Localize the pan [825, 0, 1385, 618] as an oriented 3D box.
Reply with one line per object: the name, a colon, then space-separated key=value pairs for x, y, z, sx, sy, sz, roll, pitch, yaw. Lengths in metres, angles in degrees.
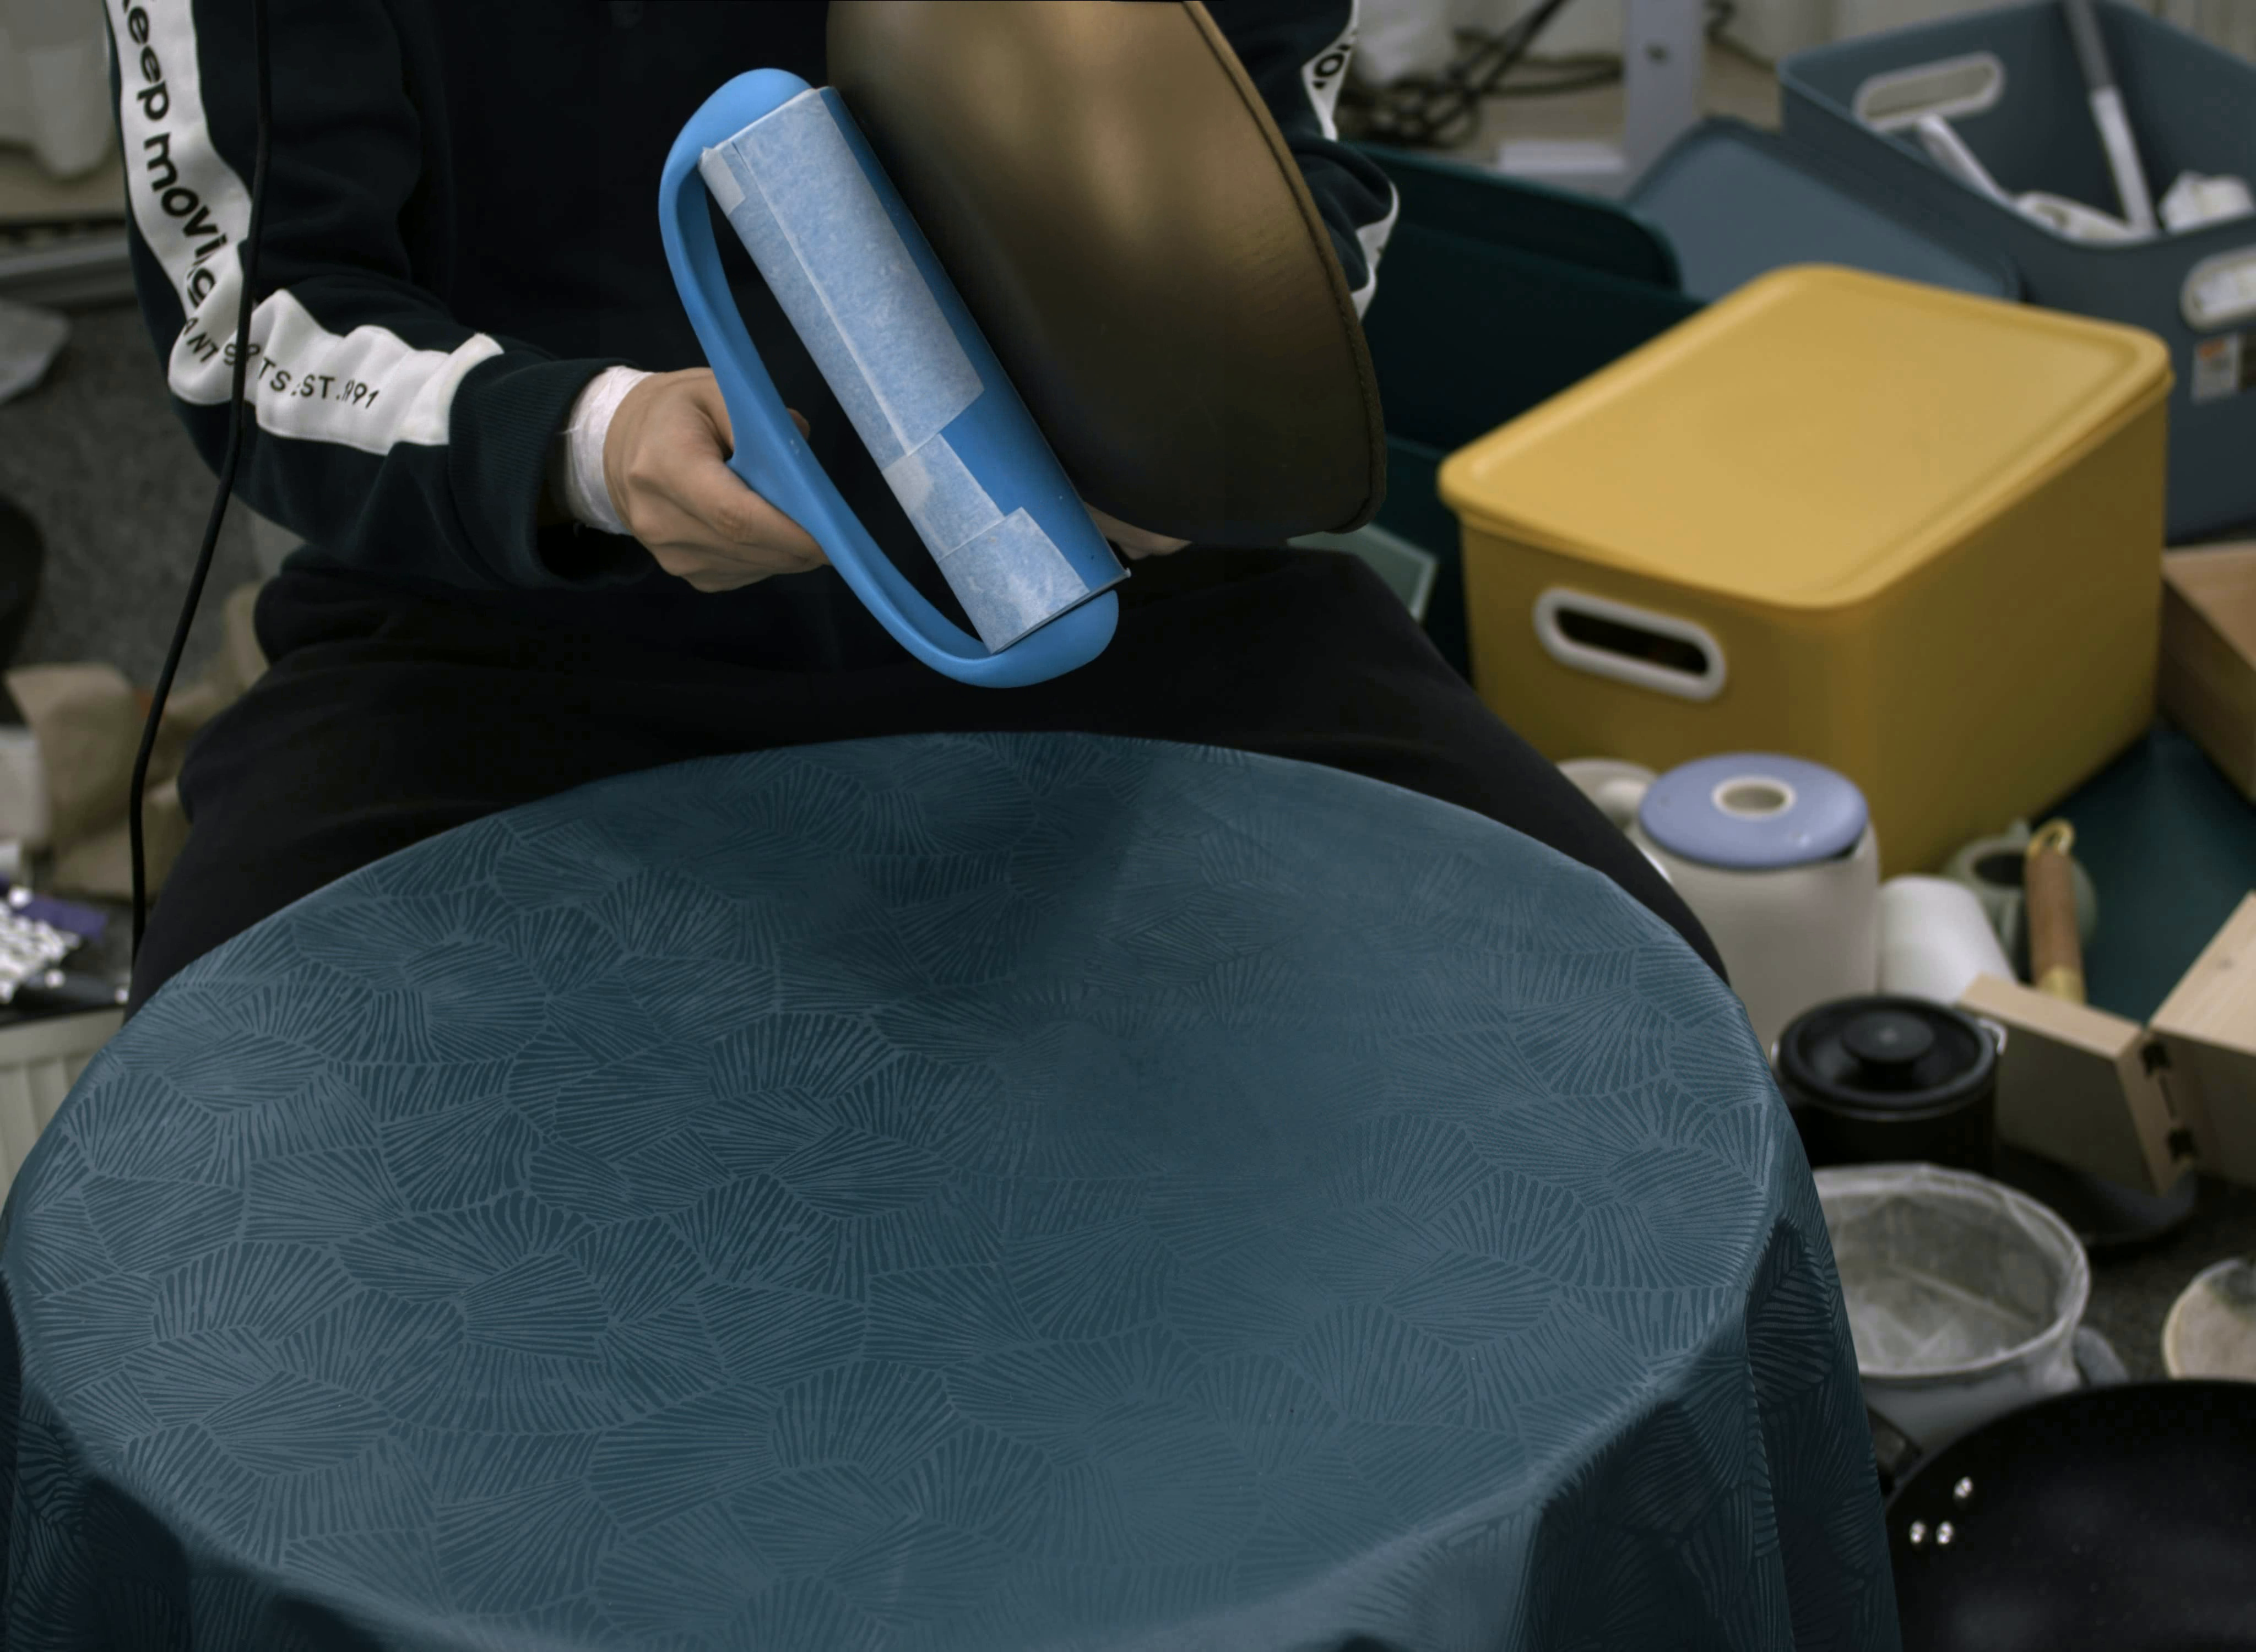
pan: x=-0.028 y=-0.171 z=1.988 sx=0.087 sy=0.457 sz=0.290 roll=-31 pitch=71 yaw=-15

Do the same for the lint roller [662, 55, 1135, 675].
lint roller: x=-0.100 y=-0.135 z=1.934 sx=0.069 sy=0.229 sz=0.177 roll=-33 pitch=-2 yaw=-38
